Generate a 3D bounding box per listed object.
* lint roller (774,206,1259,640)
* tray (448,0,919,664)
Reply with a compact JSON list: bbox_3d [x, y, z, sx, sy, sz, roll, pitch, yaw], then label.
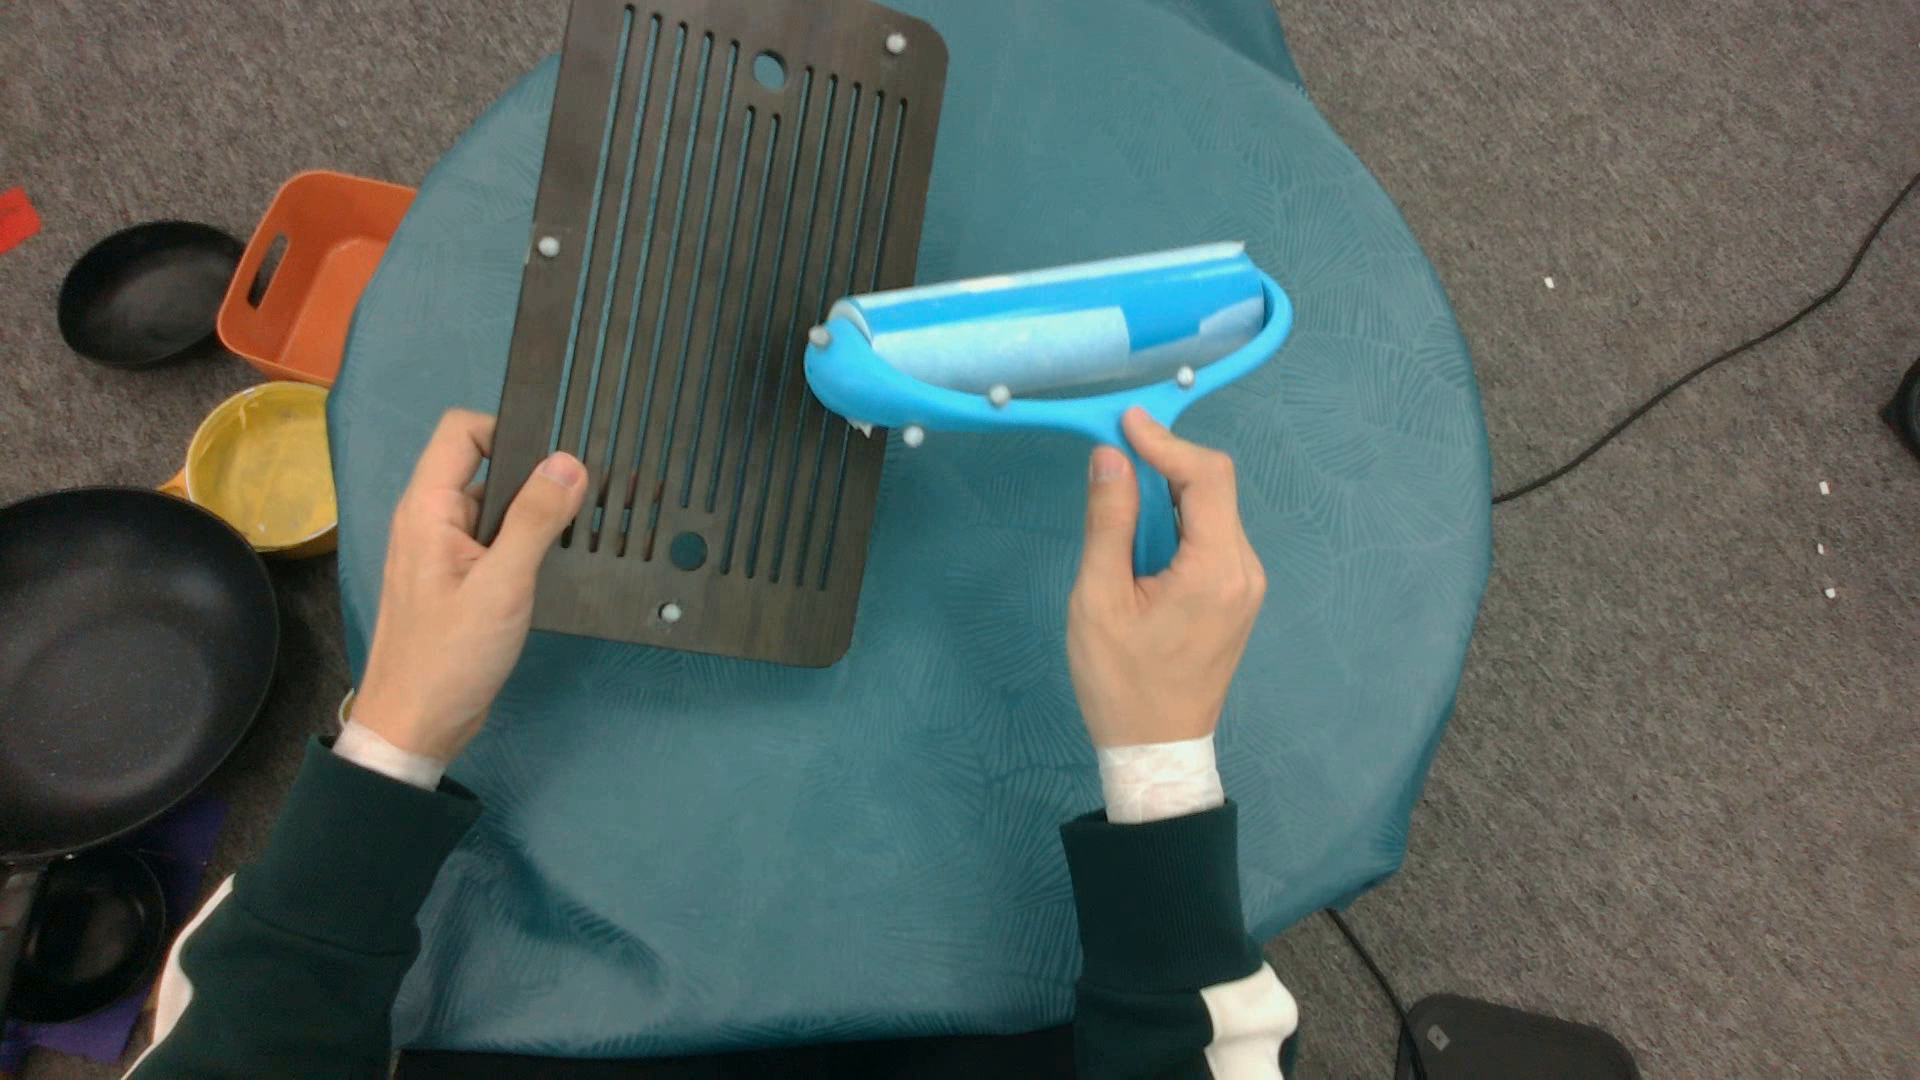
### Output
[{"bbox_3d":[0.052,-0.050,0.579,0.230,0.067,0.180,-18,77,-29],"label":"lint roller"},{"bbox_3d":[-0.117,-0.103,0.607,0.170,0.018,0.306,9,88,-26],"label":"tray"}]
